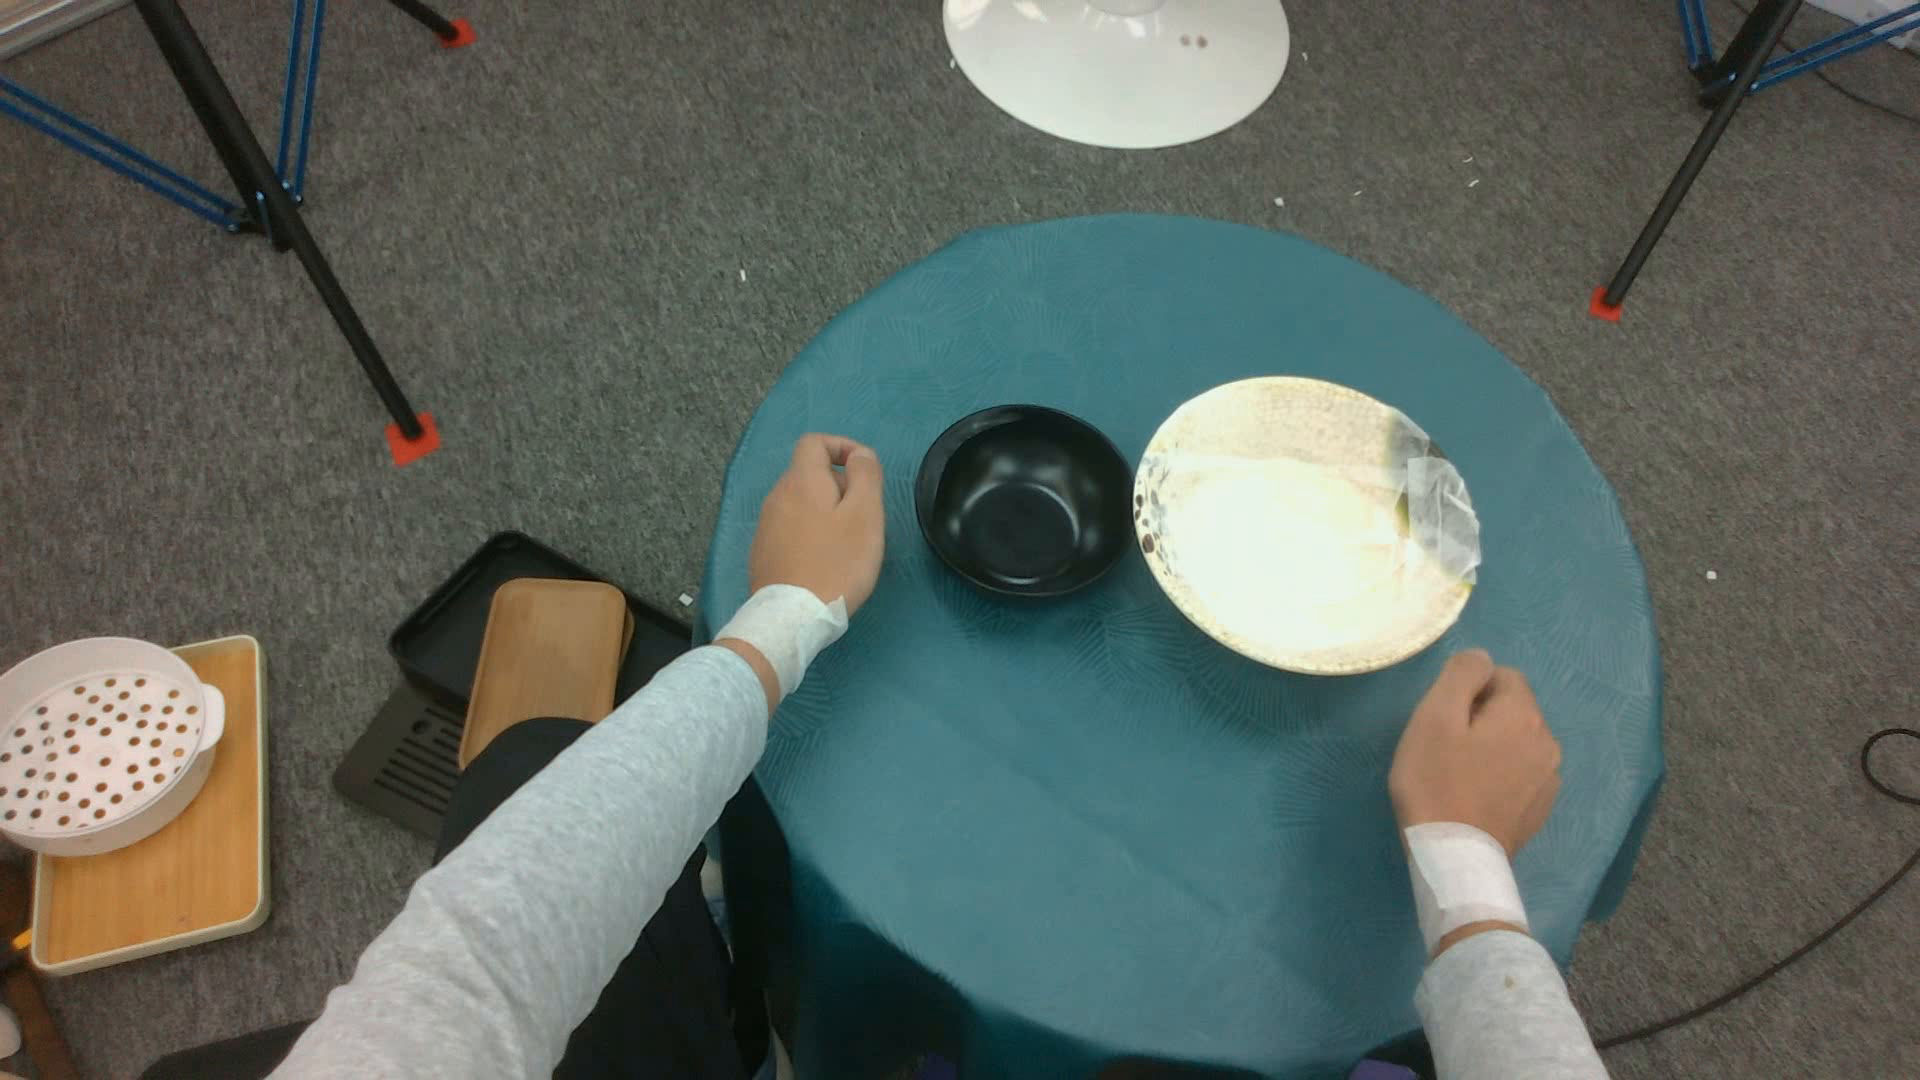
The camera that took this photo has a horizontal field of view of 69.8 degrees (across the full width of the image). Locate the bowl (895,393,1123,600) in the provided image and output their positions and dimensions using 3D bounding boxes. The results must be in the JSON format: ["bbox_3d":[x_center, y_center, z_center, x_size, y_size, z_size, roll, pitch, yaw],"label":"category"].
[{"bbox_3d":[0.030,-0.020,0.858,0.140,0.049,0.140,1,64,-1],"label":"bowl"}]

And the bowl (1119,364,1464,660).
[{"bbox_3d":[0.194,-0.005,0.843,0.204,0.077,0.205,2,60,-3],"label":"bowl"}]
